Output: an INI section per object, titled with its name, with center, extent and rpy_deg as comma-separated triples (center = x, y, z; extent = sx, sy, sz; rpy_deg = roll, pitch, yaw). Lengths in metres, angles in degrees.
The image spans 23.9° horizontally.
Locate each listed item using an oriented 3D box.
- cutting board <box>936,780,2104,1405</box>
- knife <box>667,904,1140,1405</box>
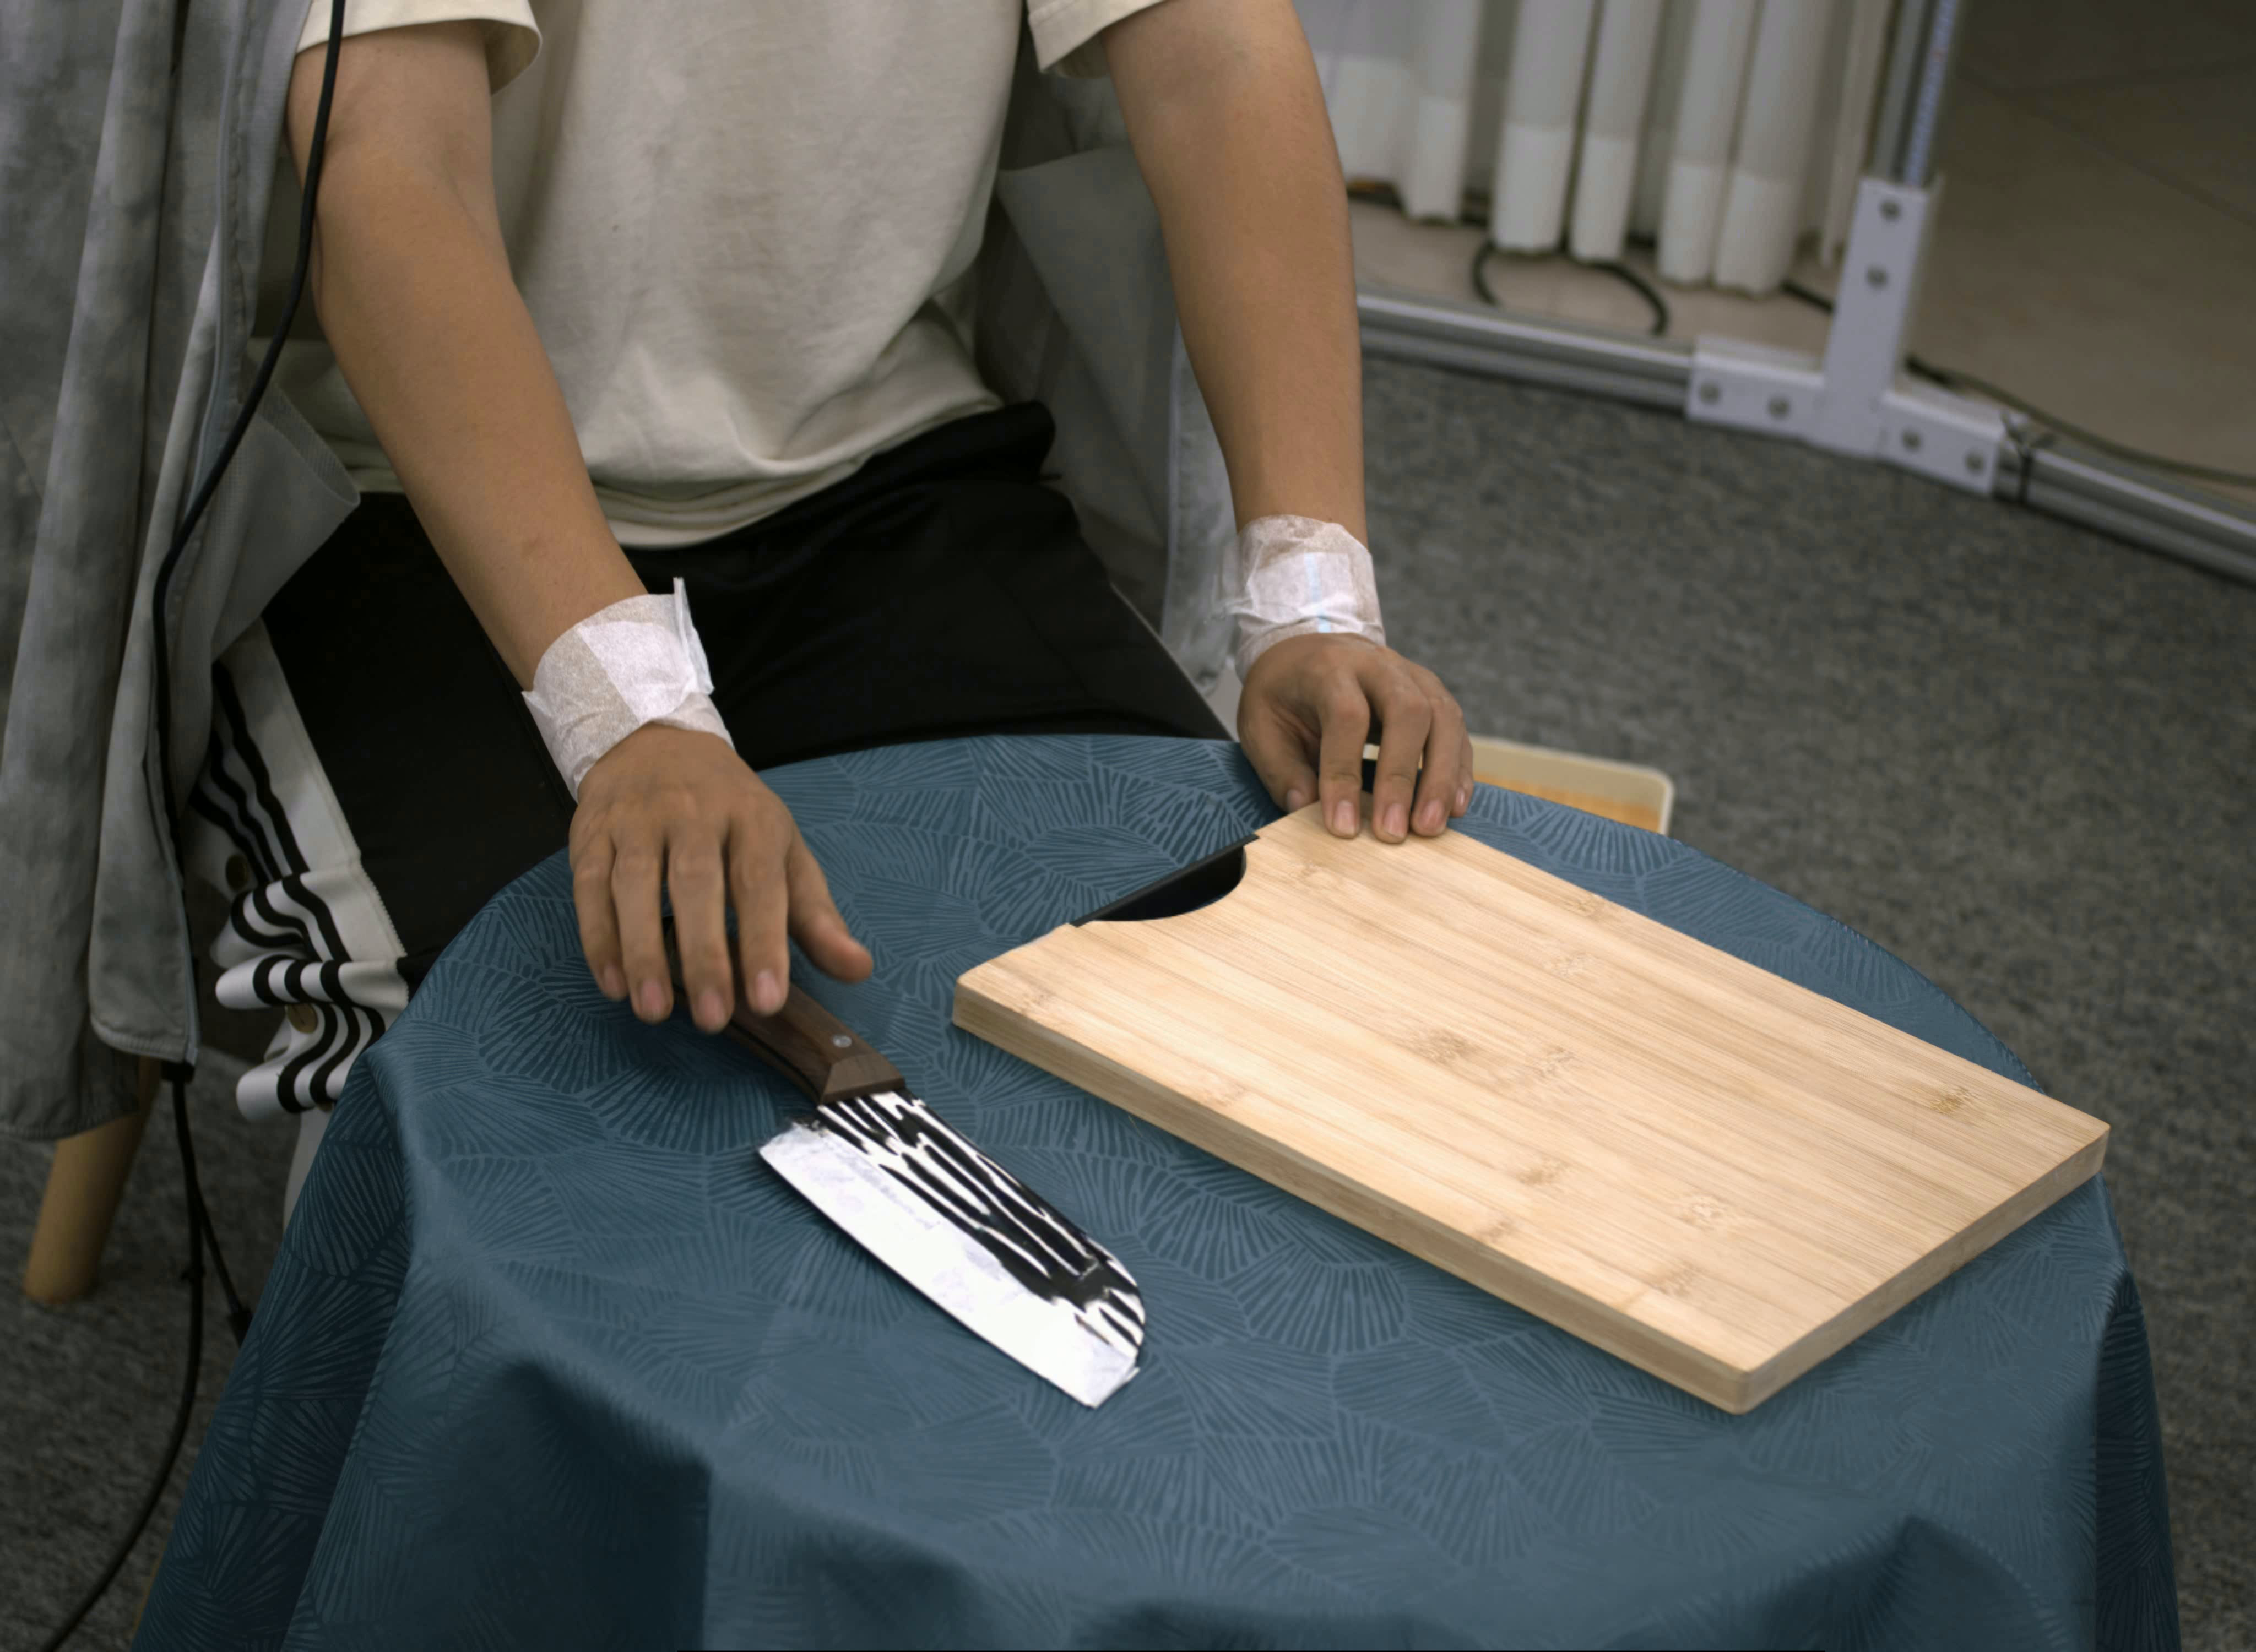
[cutting board]
center = 0.138, 0.087, 1.891
extent = 0.351, 0.023, 0.250
rpy_deg = 24, 31, 31
[knife]
center = -0.086, 0.109, 1.793
extent = 0.068, 0.024, 0.302
rpy_deg = -17, 38, -33
